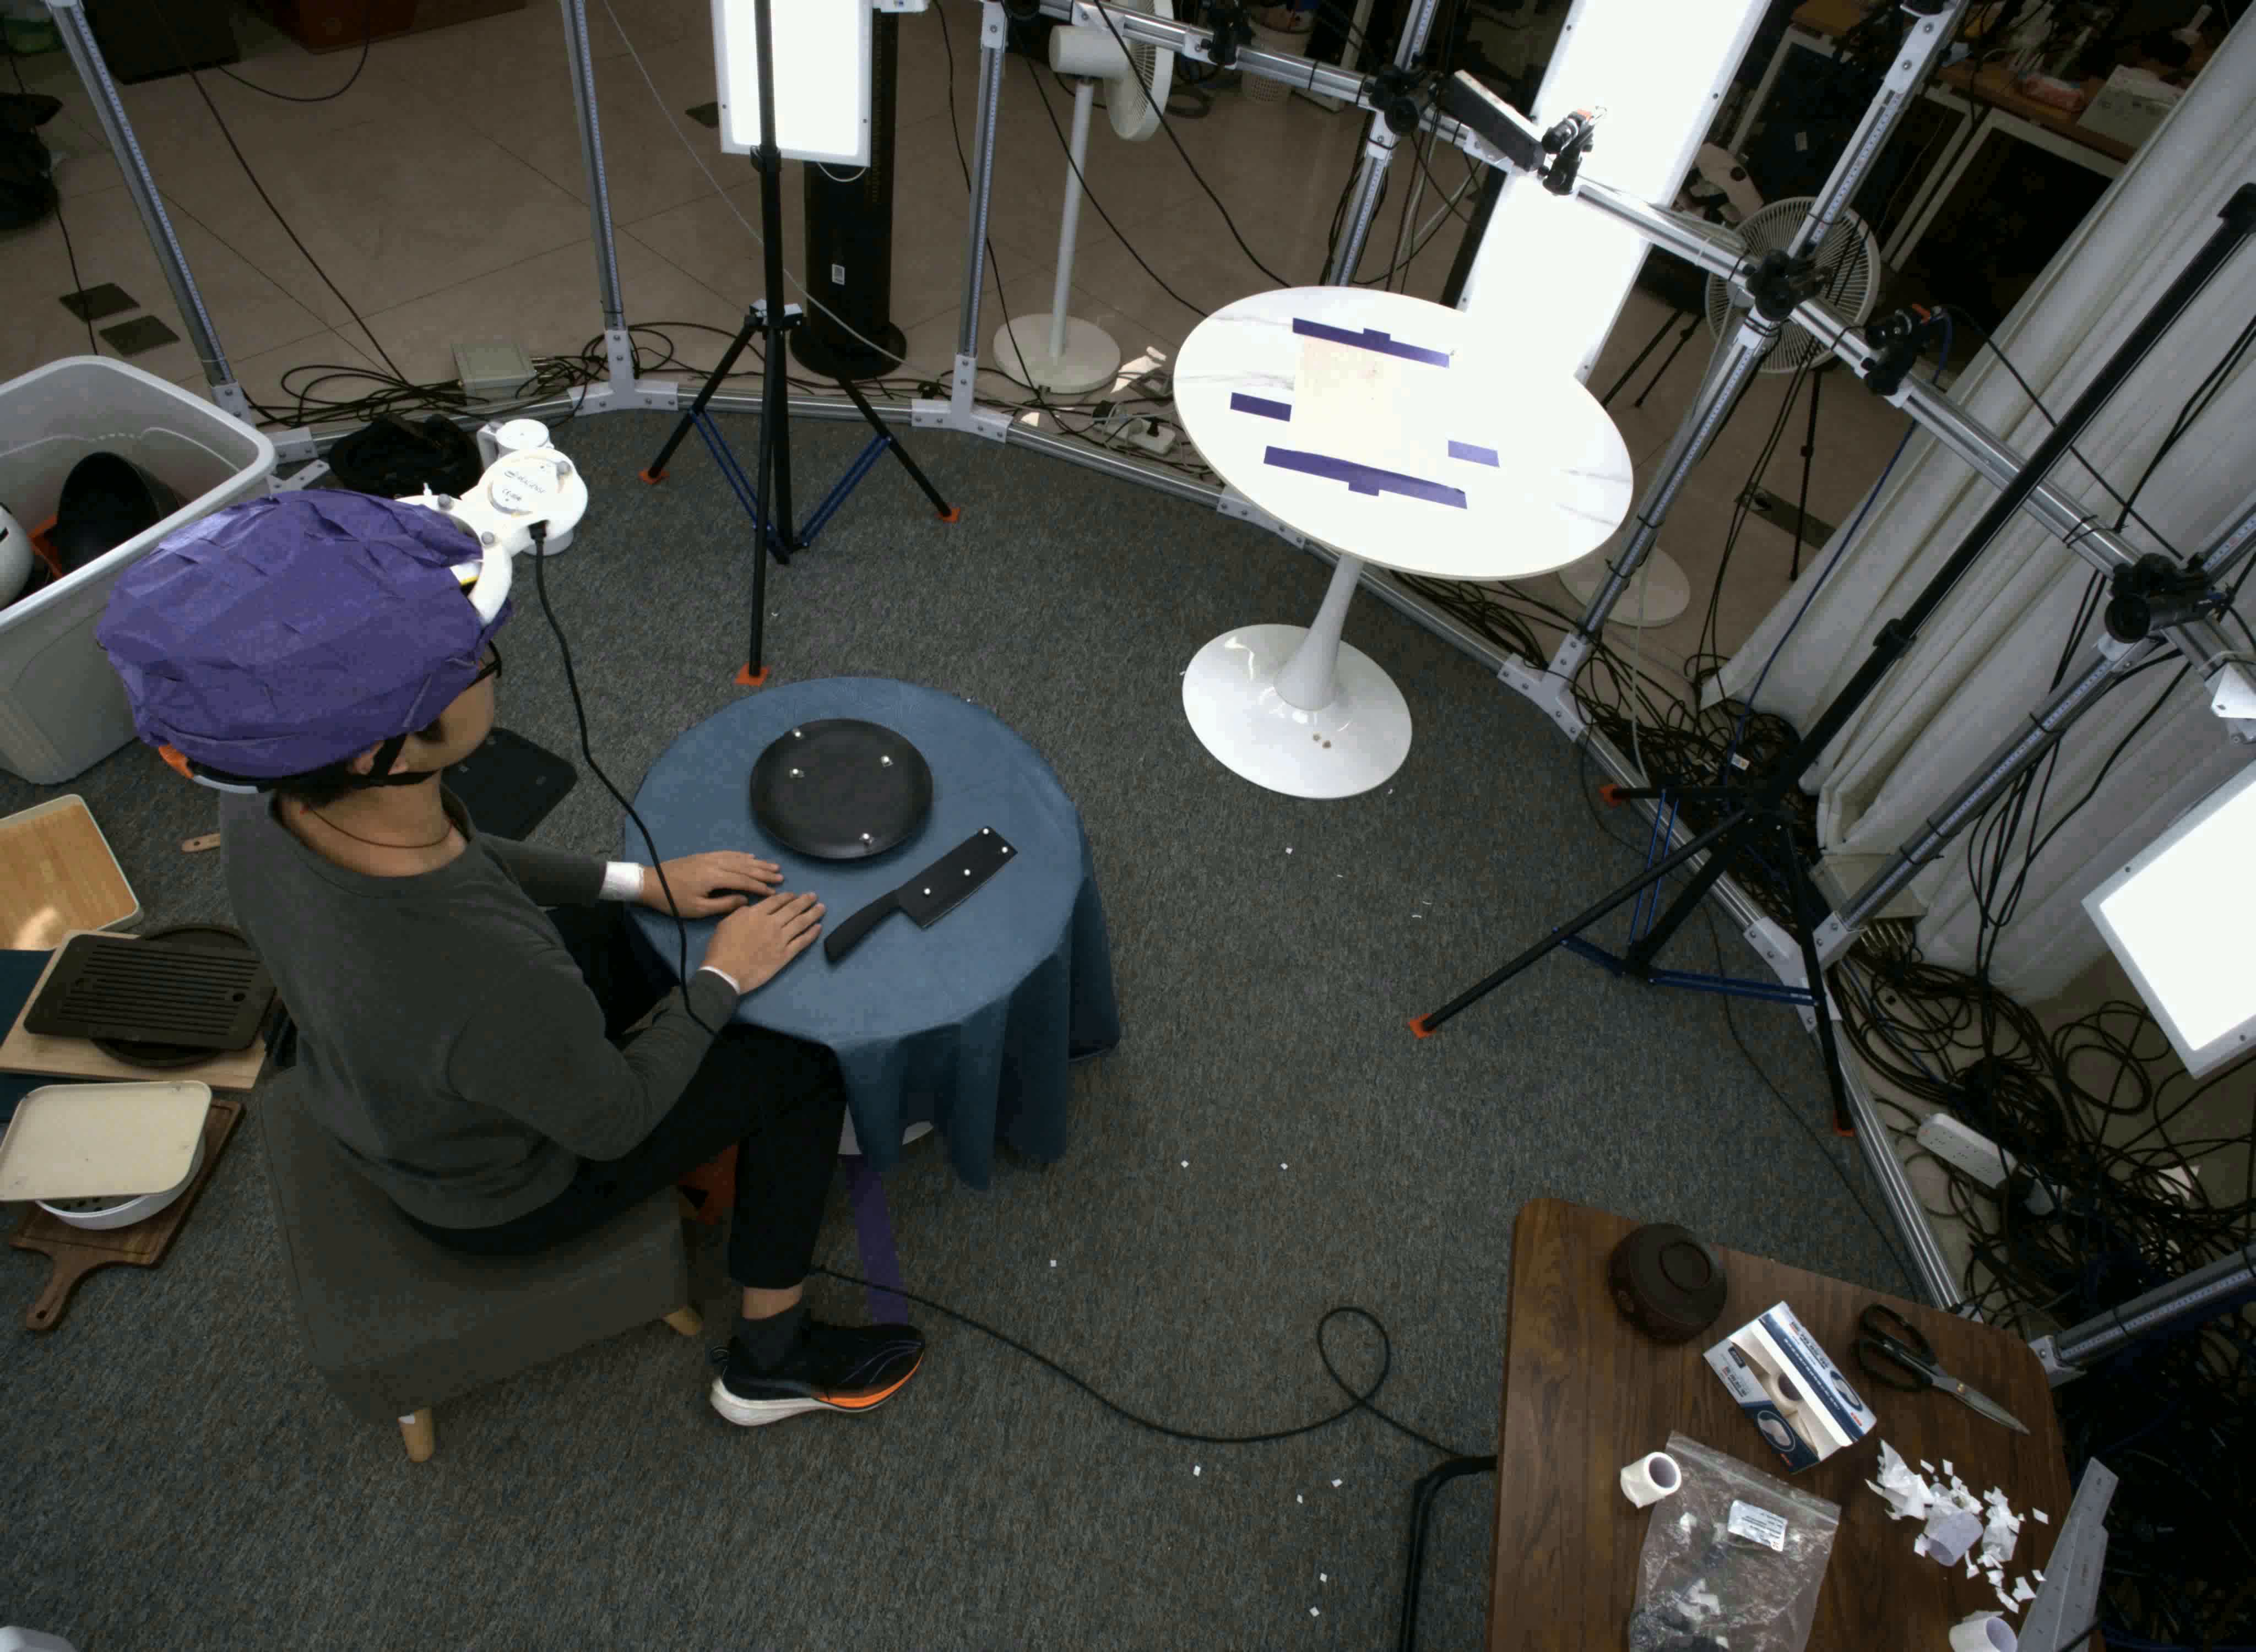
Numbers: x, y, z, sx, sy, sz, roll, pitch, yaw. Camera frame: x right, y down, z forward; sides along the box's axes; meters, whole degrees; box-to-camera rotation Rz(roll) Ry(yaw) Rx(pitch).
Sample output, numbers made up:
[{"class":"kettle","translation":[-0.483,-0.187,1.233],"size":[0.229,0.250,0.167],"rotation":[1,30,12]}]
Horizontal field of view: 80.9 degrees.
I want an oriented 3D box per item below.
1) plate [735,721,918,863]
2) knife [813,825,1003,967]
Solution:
[{"class":"plate","translation":[-0.407,-0.046,1.759],"size":[0.244,0.024,0.240],"rotation":[8,53,-9]},{"class":"knife","translation":[-0.286,0.091,1.695],"size":[0.079,0.021,0.303],"rotation":[43,54,17]}]
